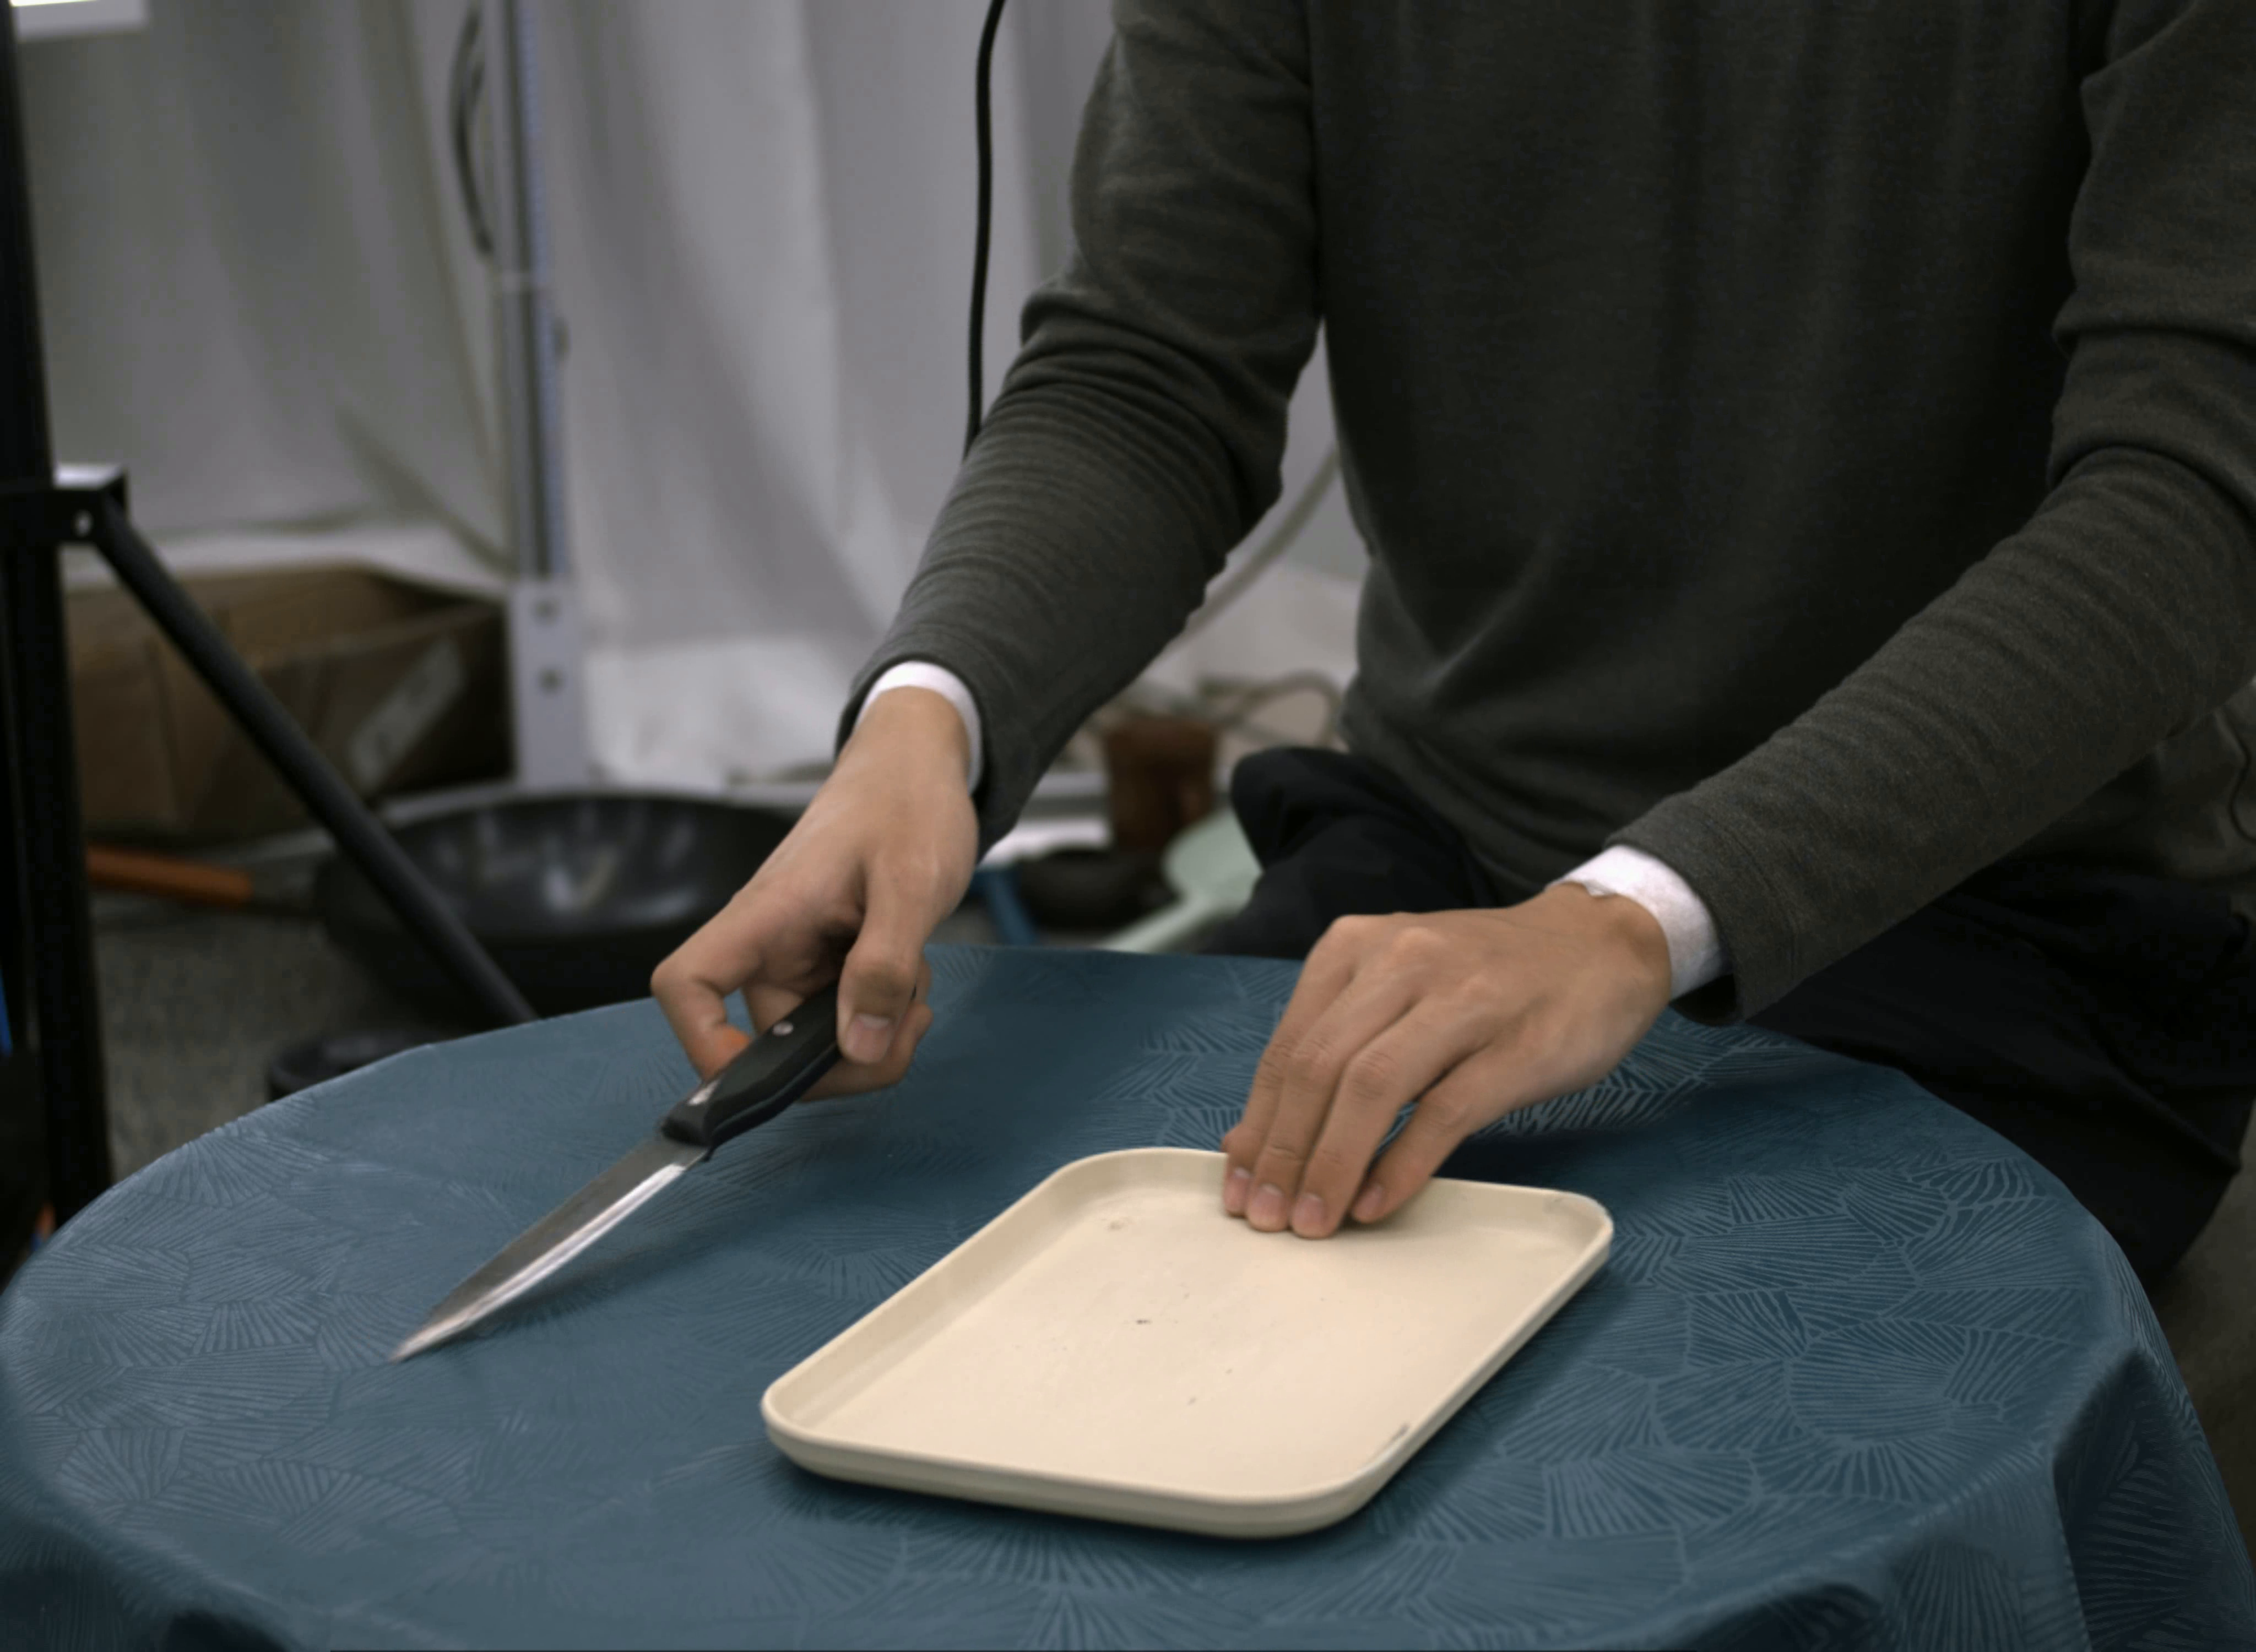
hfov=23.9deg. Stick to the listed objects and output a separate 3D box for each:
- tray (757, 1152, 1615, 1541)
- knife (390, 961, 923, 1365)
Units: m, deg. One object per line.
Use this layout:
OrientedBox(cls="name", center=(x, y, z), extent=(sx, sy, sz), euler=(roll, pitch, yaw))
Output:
OrientedBox(cls="tray", center=(0.020, 0.137, 1.422), extent=(0.174, 0.017, 0.236), euler=(4, 17, 26))
OrientedBox(cls="knife", center=(-0.136, 0.096, 1.537), extent=(0.025, 0.016, 0.234), euler=(6, 30, 37))
